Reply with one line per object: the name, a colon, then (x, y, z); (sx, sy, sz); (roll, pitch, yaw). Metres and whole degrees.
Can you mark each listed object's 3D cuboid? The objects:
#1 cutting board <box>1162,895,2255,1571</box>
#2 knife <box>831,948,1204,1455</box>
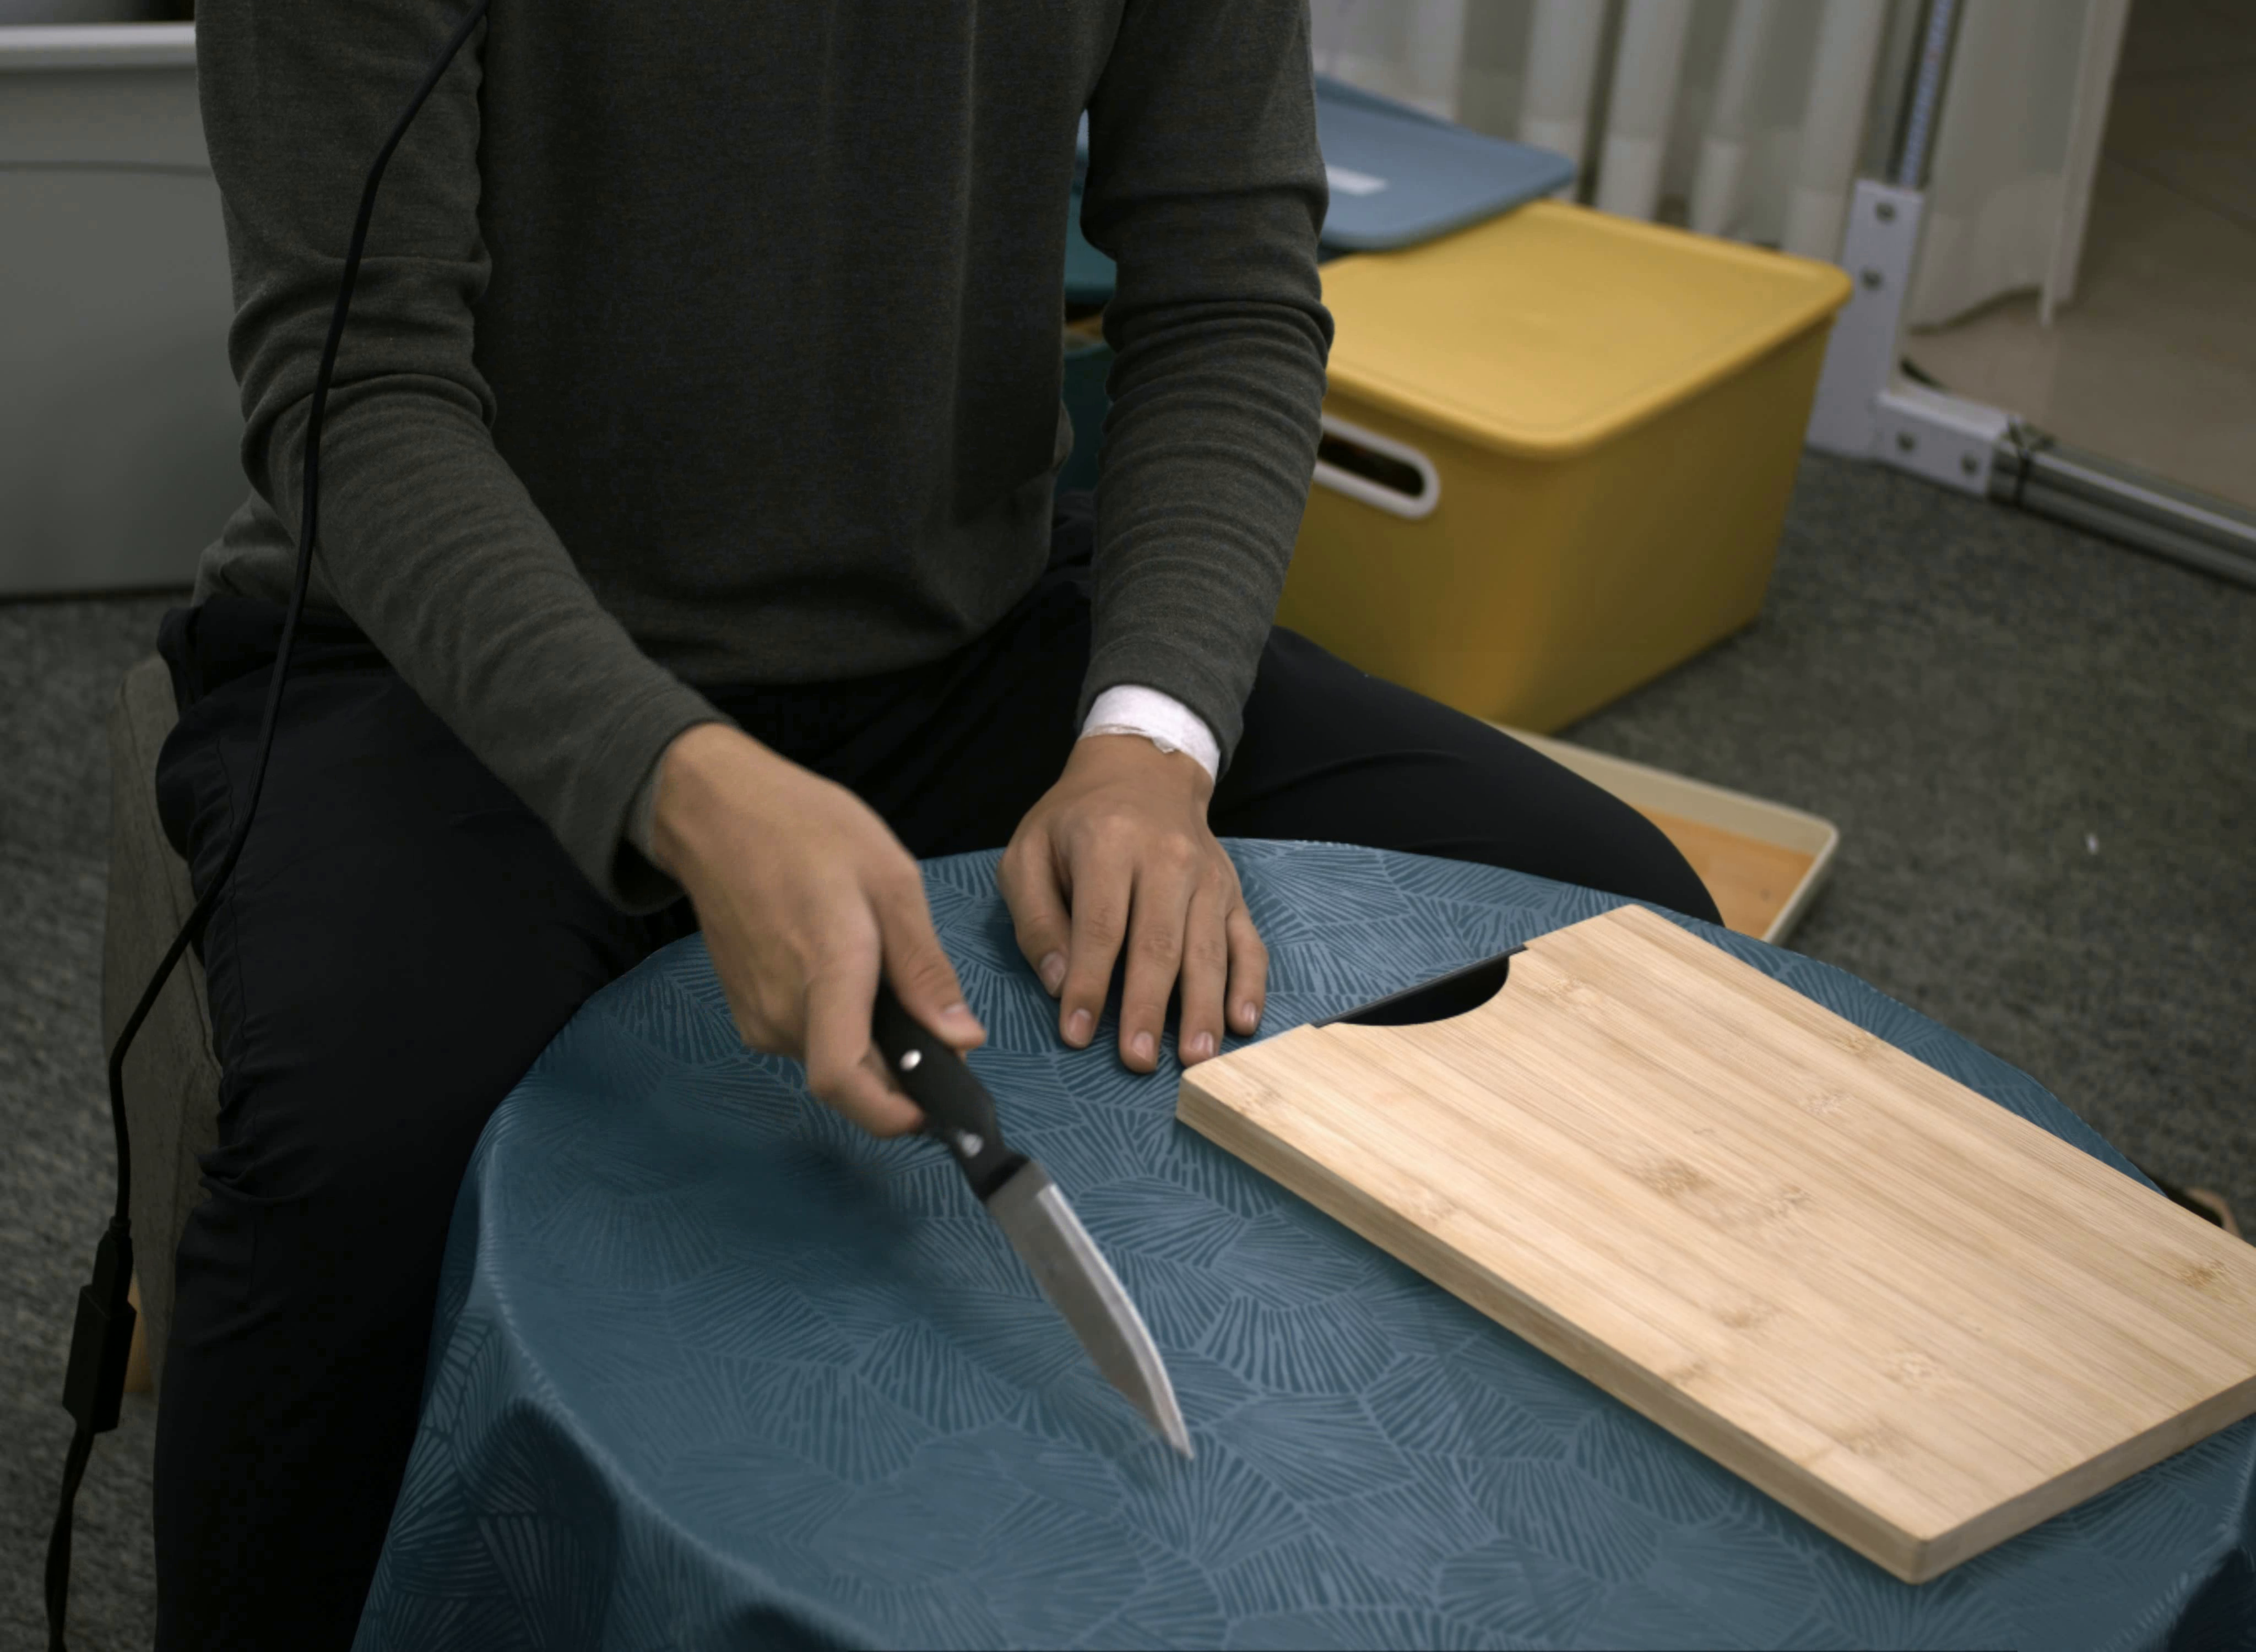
cutting board: (0.214, 0.131, 1.823); (0.249, 0.023, 0.351); (-18, 36, -40)
knife: (-0.038, 0.121, 1.716); (0.240, 0.024, 0.016); (52, 6, 38)
